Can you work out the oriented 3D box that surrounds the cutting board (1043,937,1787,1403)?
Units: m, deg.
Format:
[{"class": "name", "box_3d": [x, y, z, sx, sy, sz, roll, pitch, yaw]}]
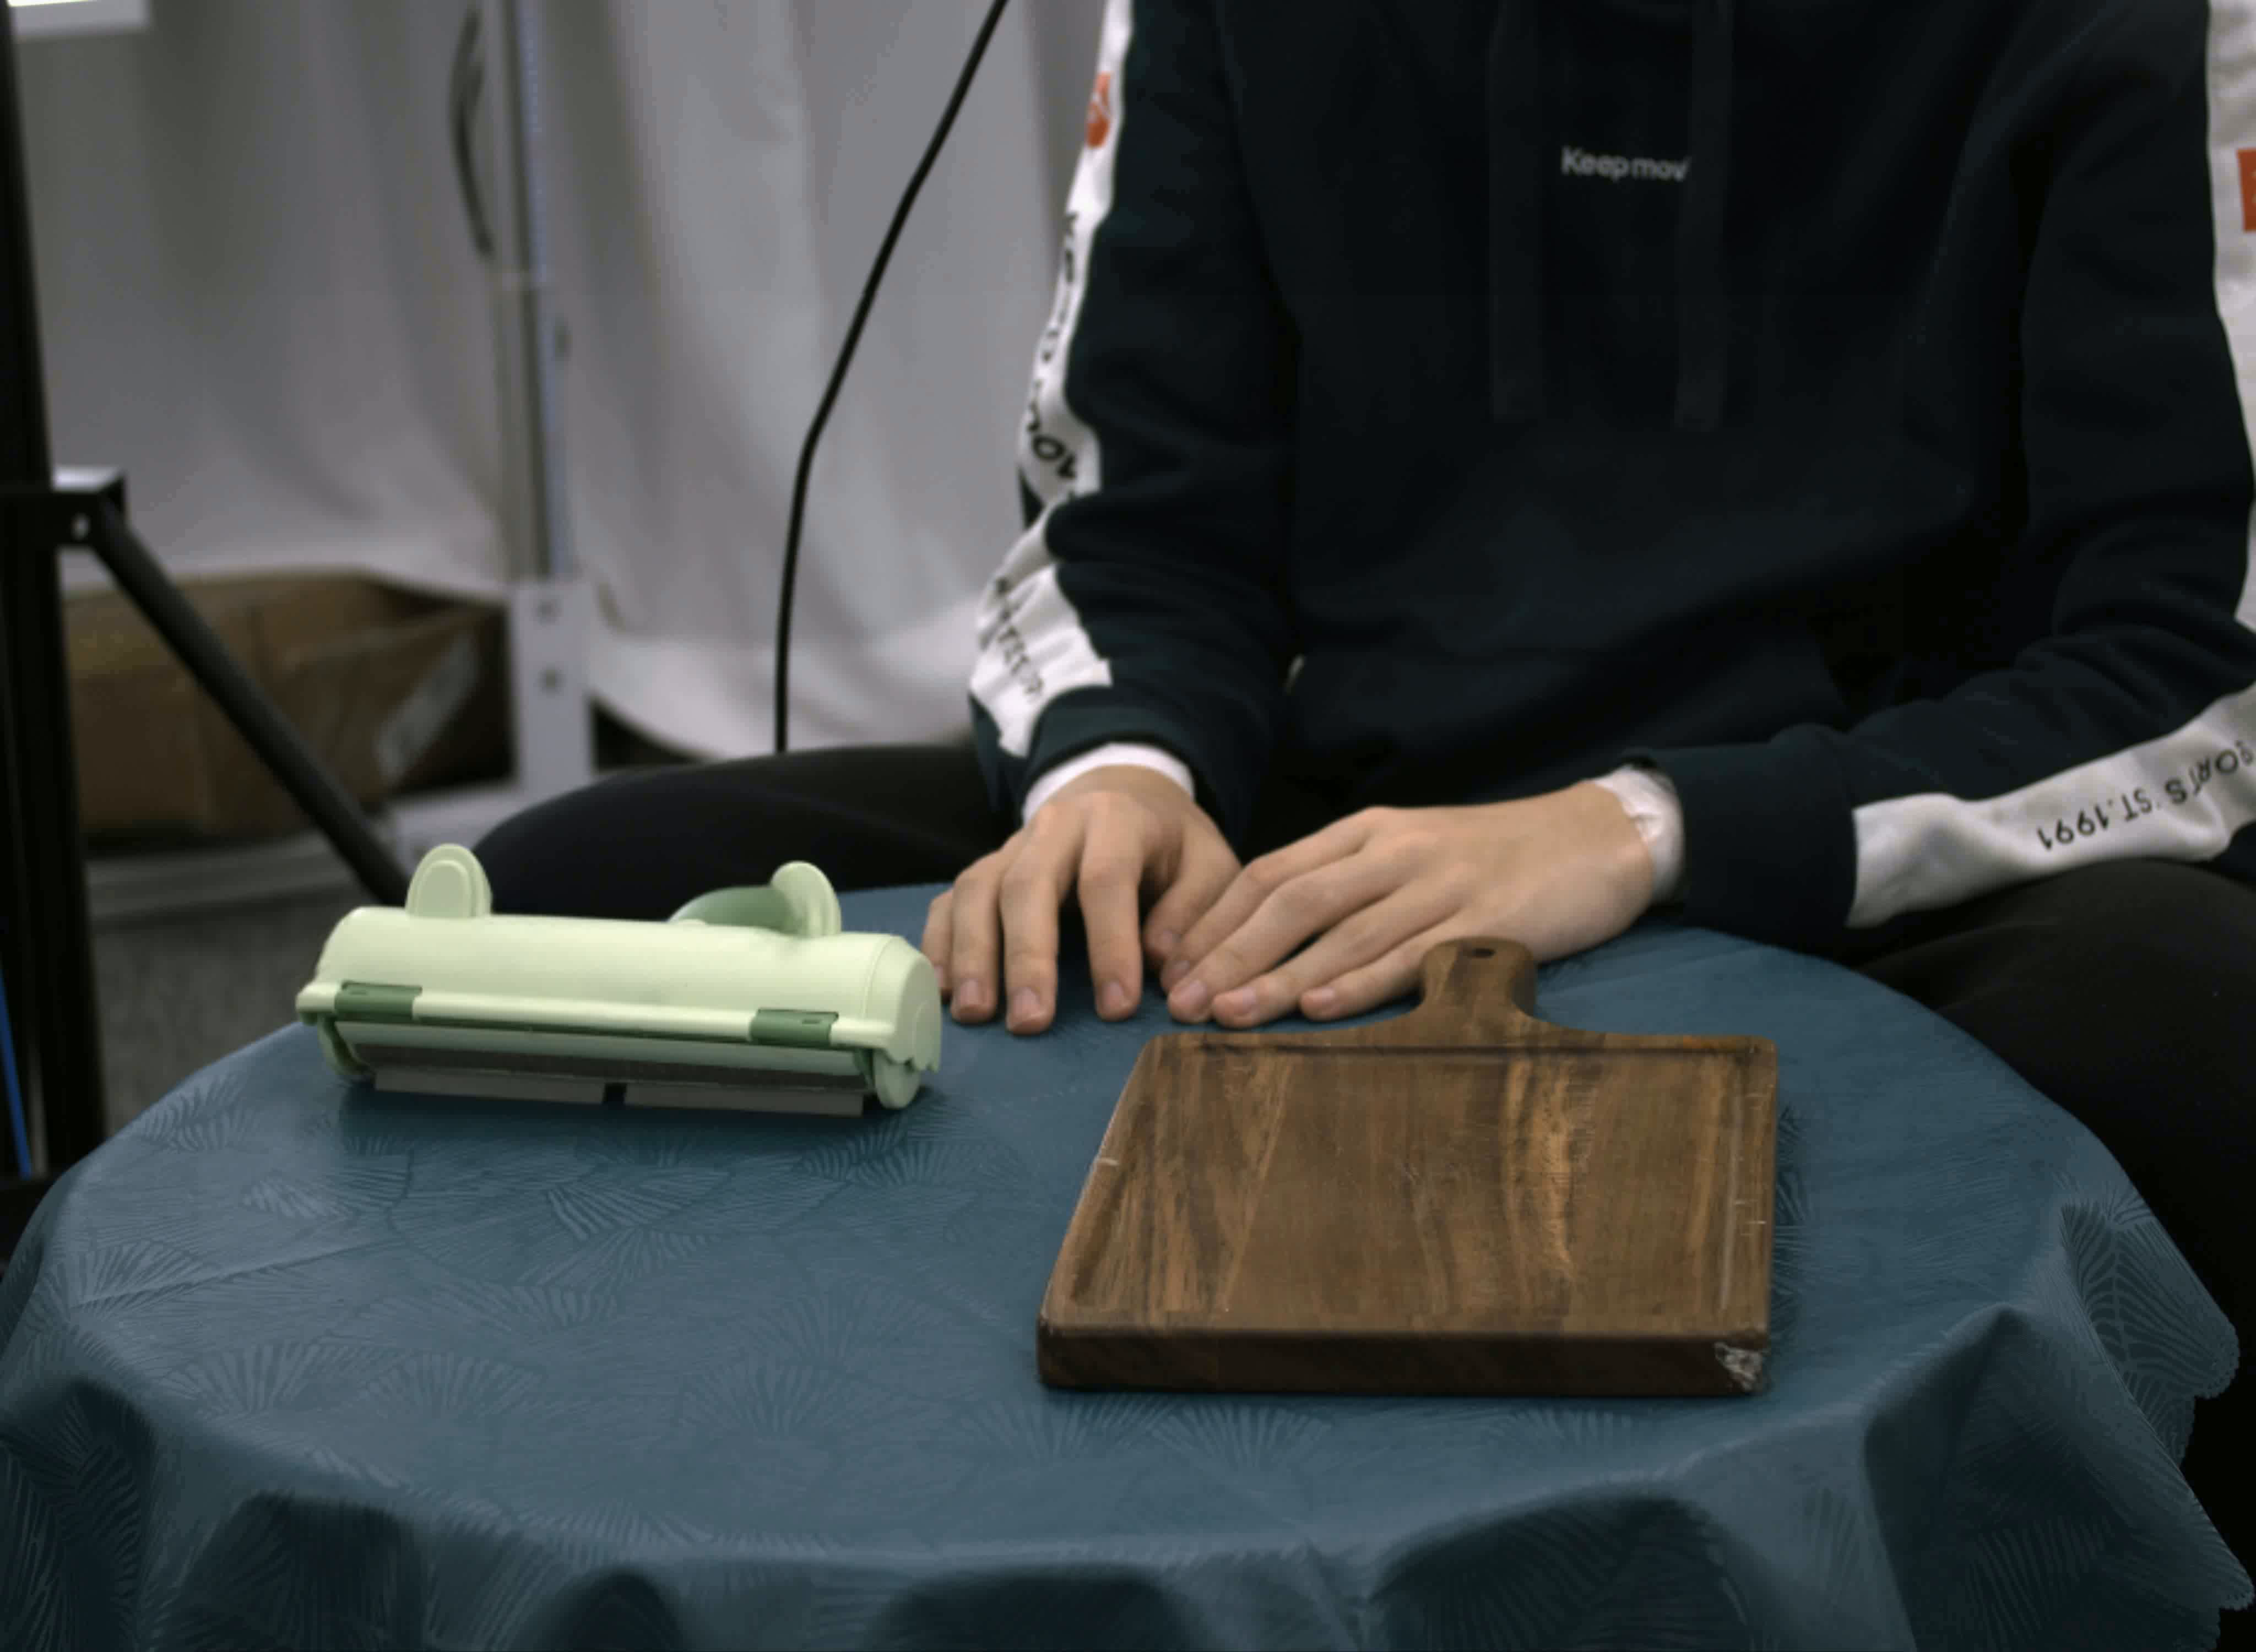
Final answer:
[{"class": "cutting board", "box_3d": [0.092, 0.094, 1.553, 0.201, 0.023, 0.351, -1, 16, 8]}]

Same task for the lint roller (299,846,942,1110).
[{"class": "lint roller", "box_3d": [-0.143, 0.031, 1.712, 0.200, 0.082, 0.182, 2, 21, 17]}]
